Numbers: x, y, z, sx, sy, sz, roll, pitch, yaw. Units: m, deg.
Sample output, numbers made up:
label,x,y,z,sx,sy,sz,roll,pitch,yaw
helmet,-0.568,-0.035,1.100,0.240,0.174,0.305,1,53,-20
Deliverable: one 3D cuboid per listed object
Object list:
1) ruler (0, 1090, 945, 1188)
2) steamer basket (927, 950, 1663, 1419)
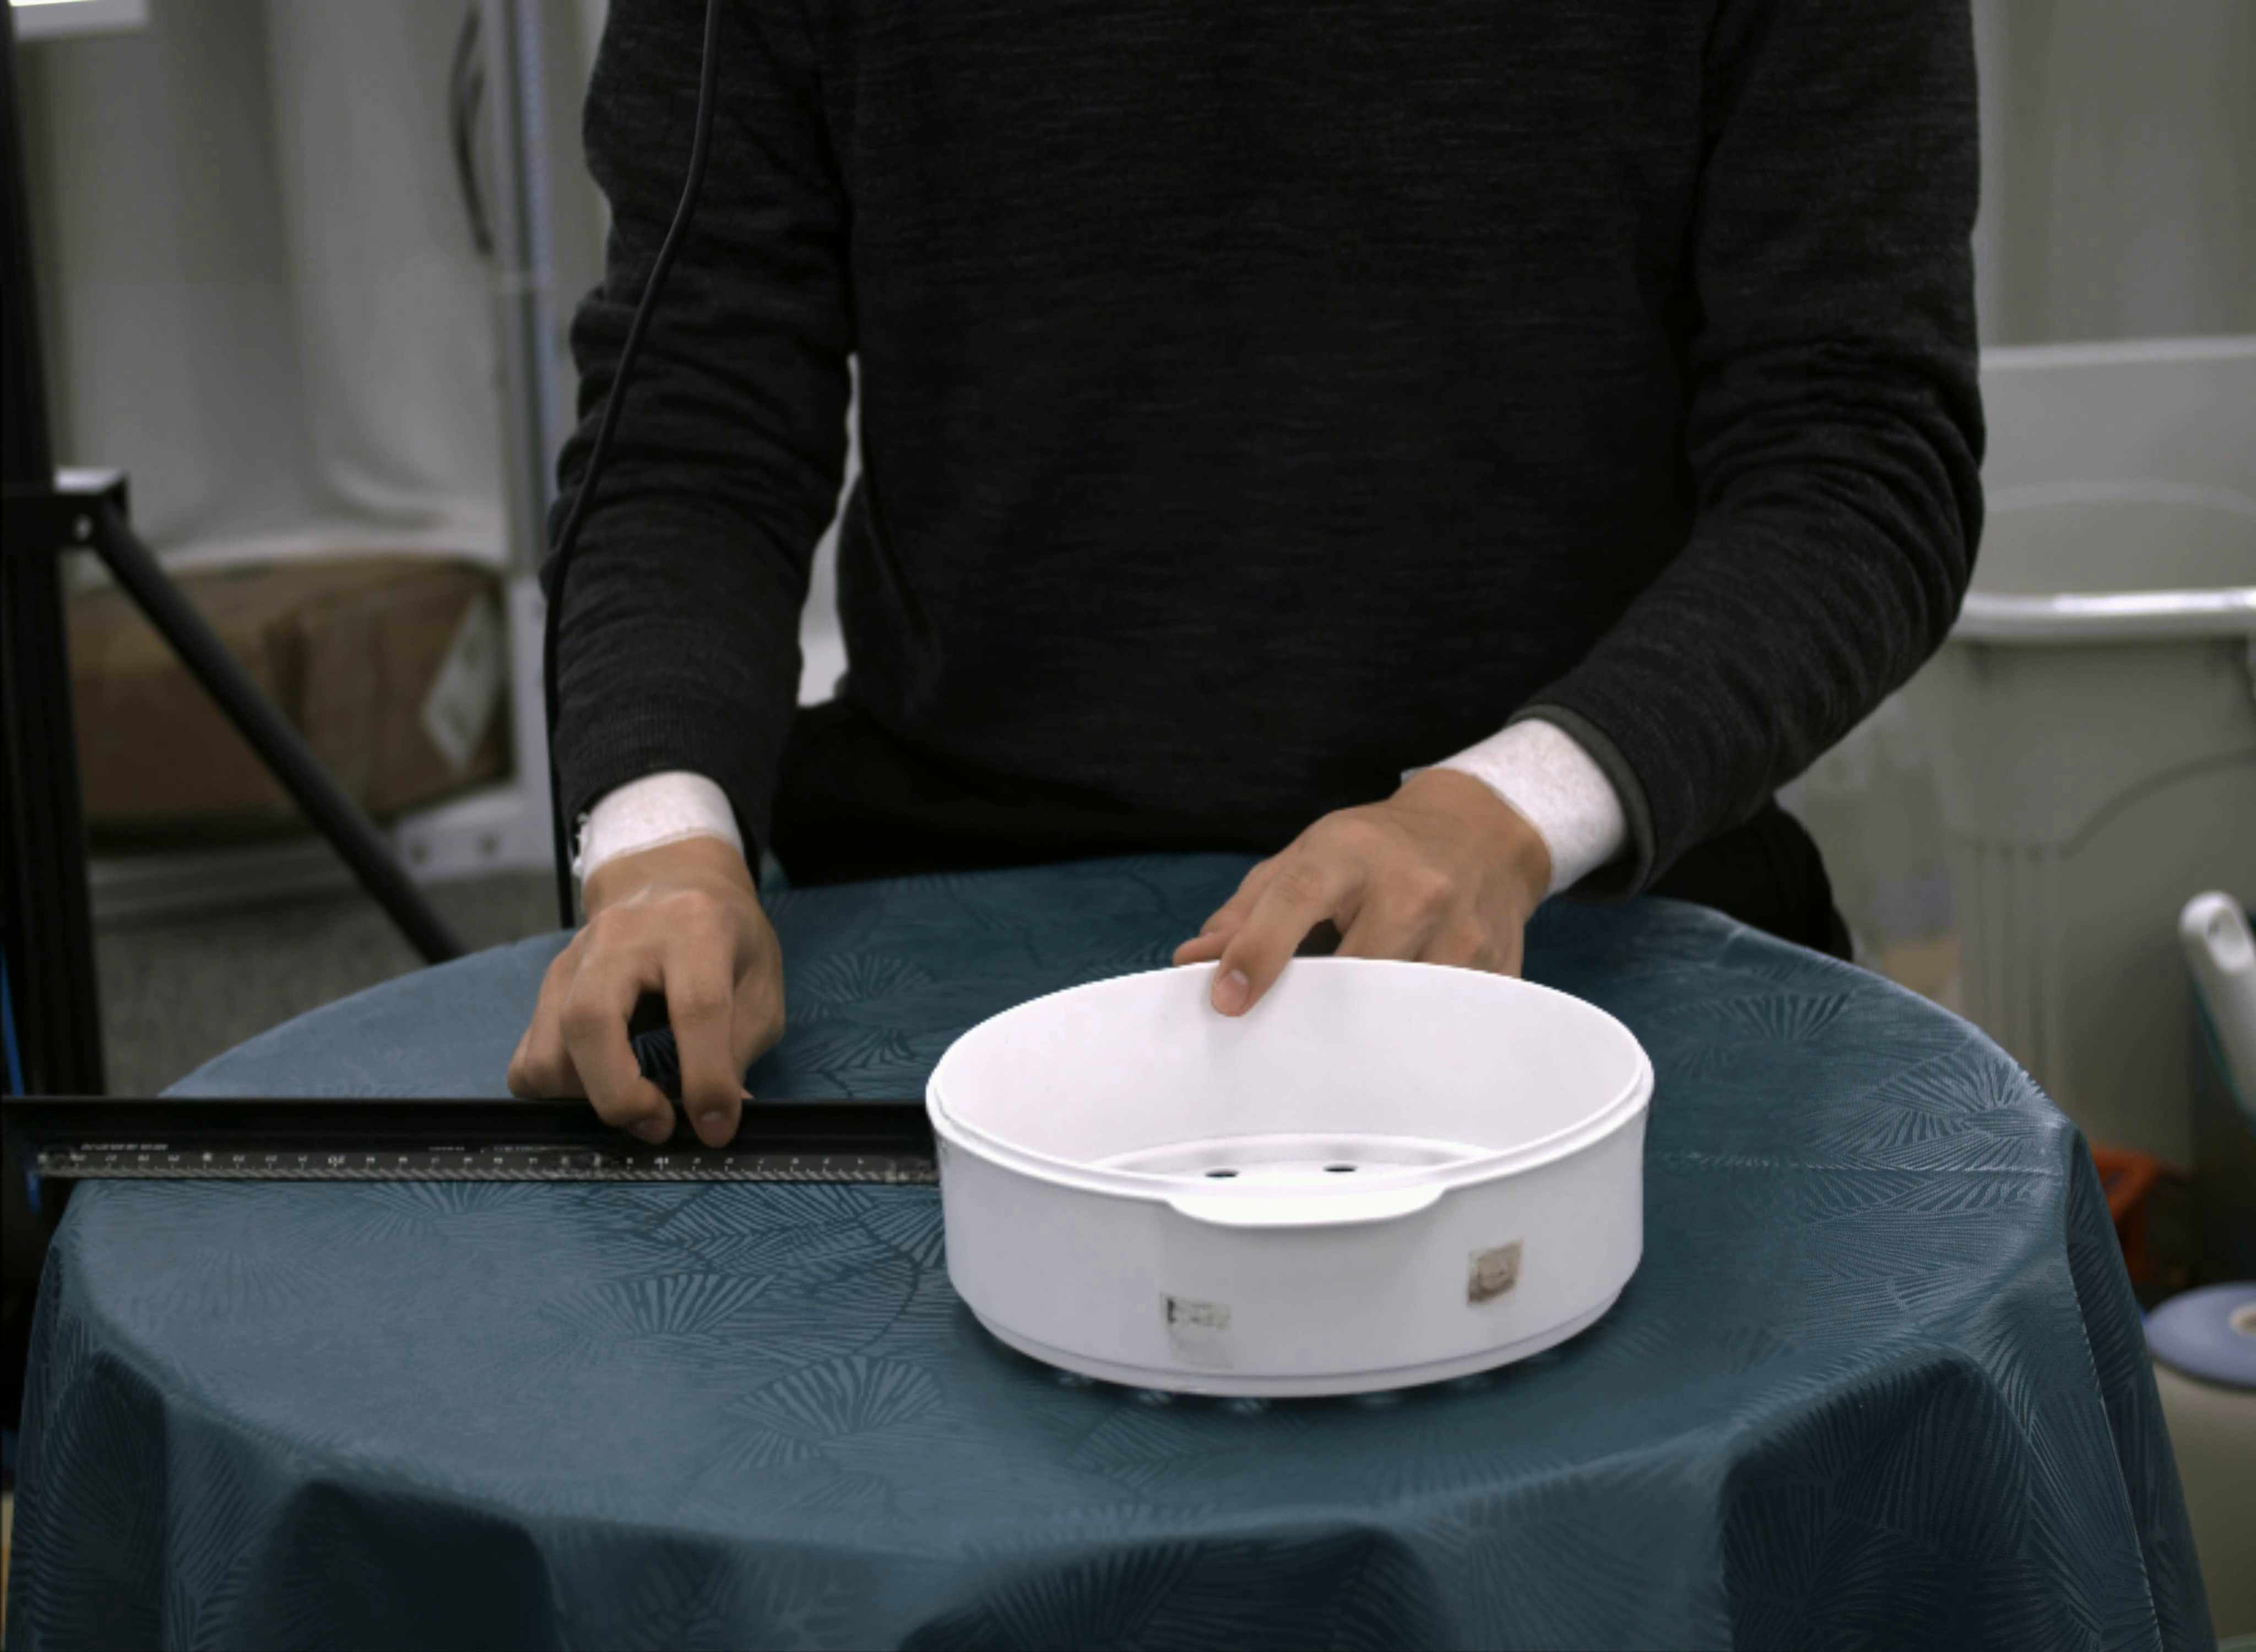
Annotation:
label,x,y,z,sx,sy,sz,roll,pitch,yaw
ruler,-0.193,0.094,1.610,0.313,0.017,0.039,0,19,10
steamer basket,0.046,0.098,1.459,0.201,0.069,0.232,-2,18,0
